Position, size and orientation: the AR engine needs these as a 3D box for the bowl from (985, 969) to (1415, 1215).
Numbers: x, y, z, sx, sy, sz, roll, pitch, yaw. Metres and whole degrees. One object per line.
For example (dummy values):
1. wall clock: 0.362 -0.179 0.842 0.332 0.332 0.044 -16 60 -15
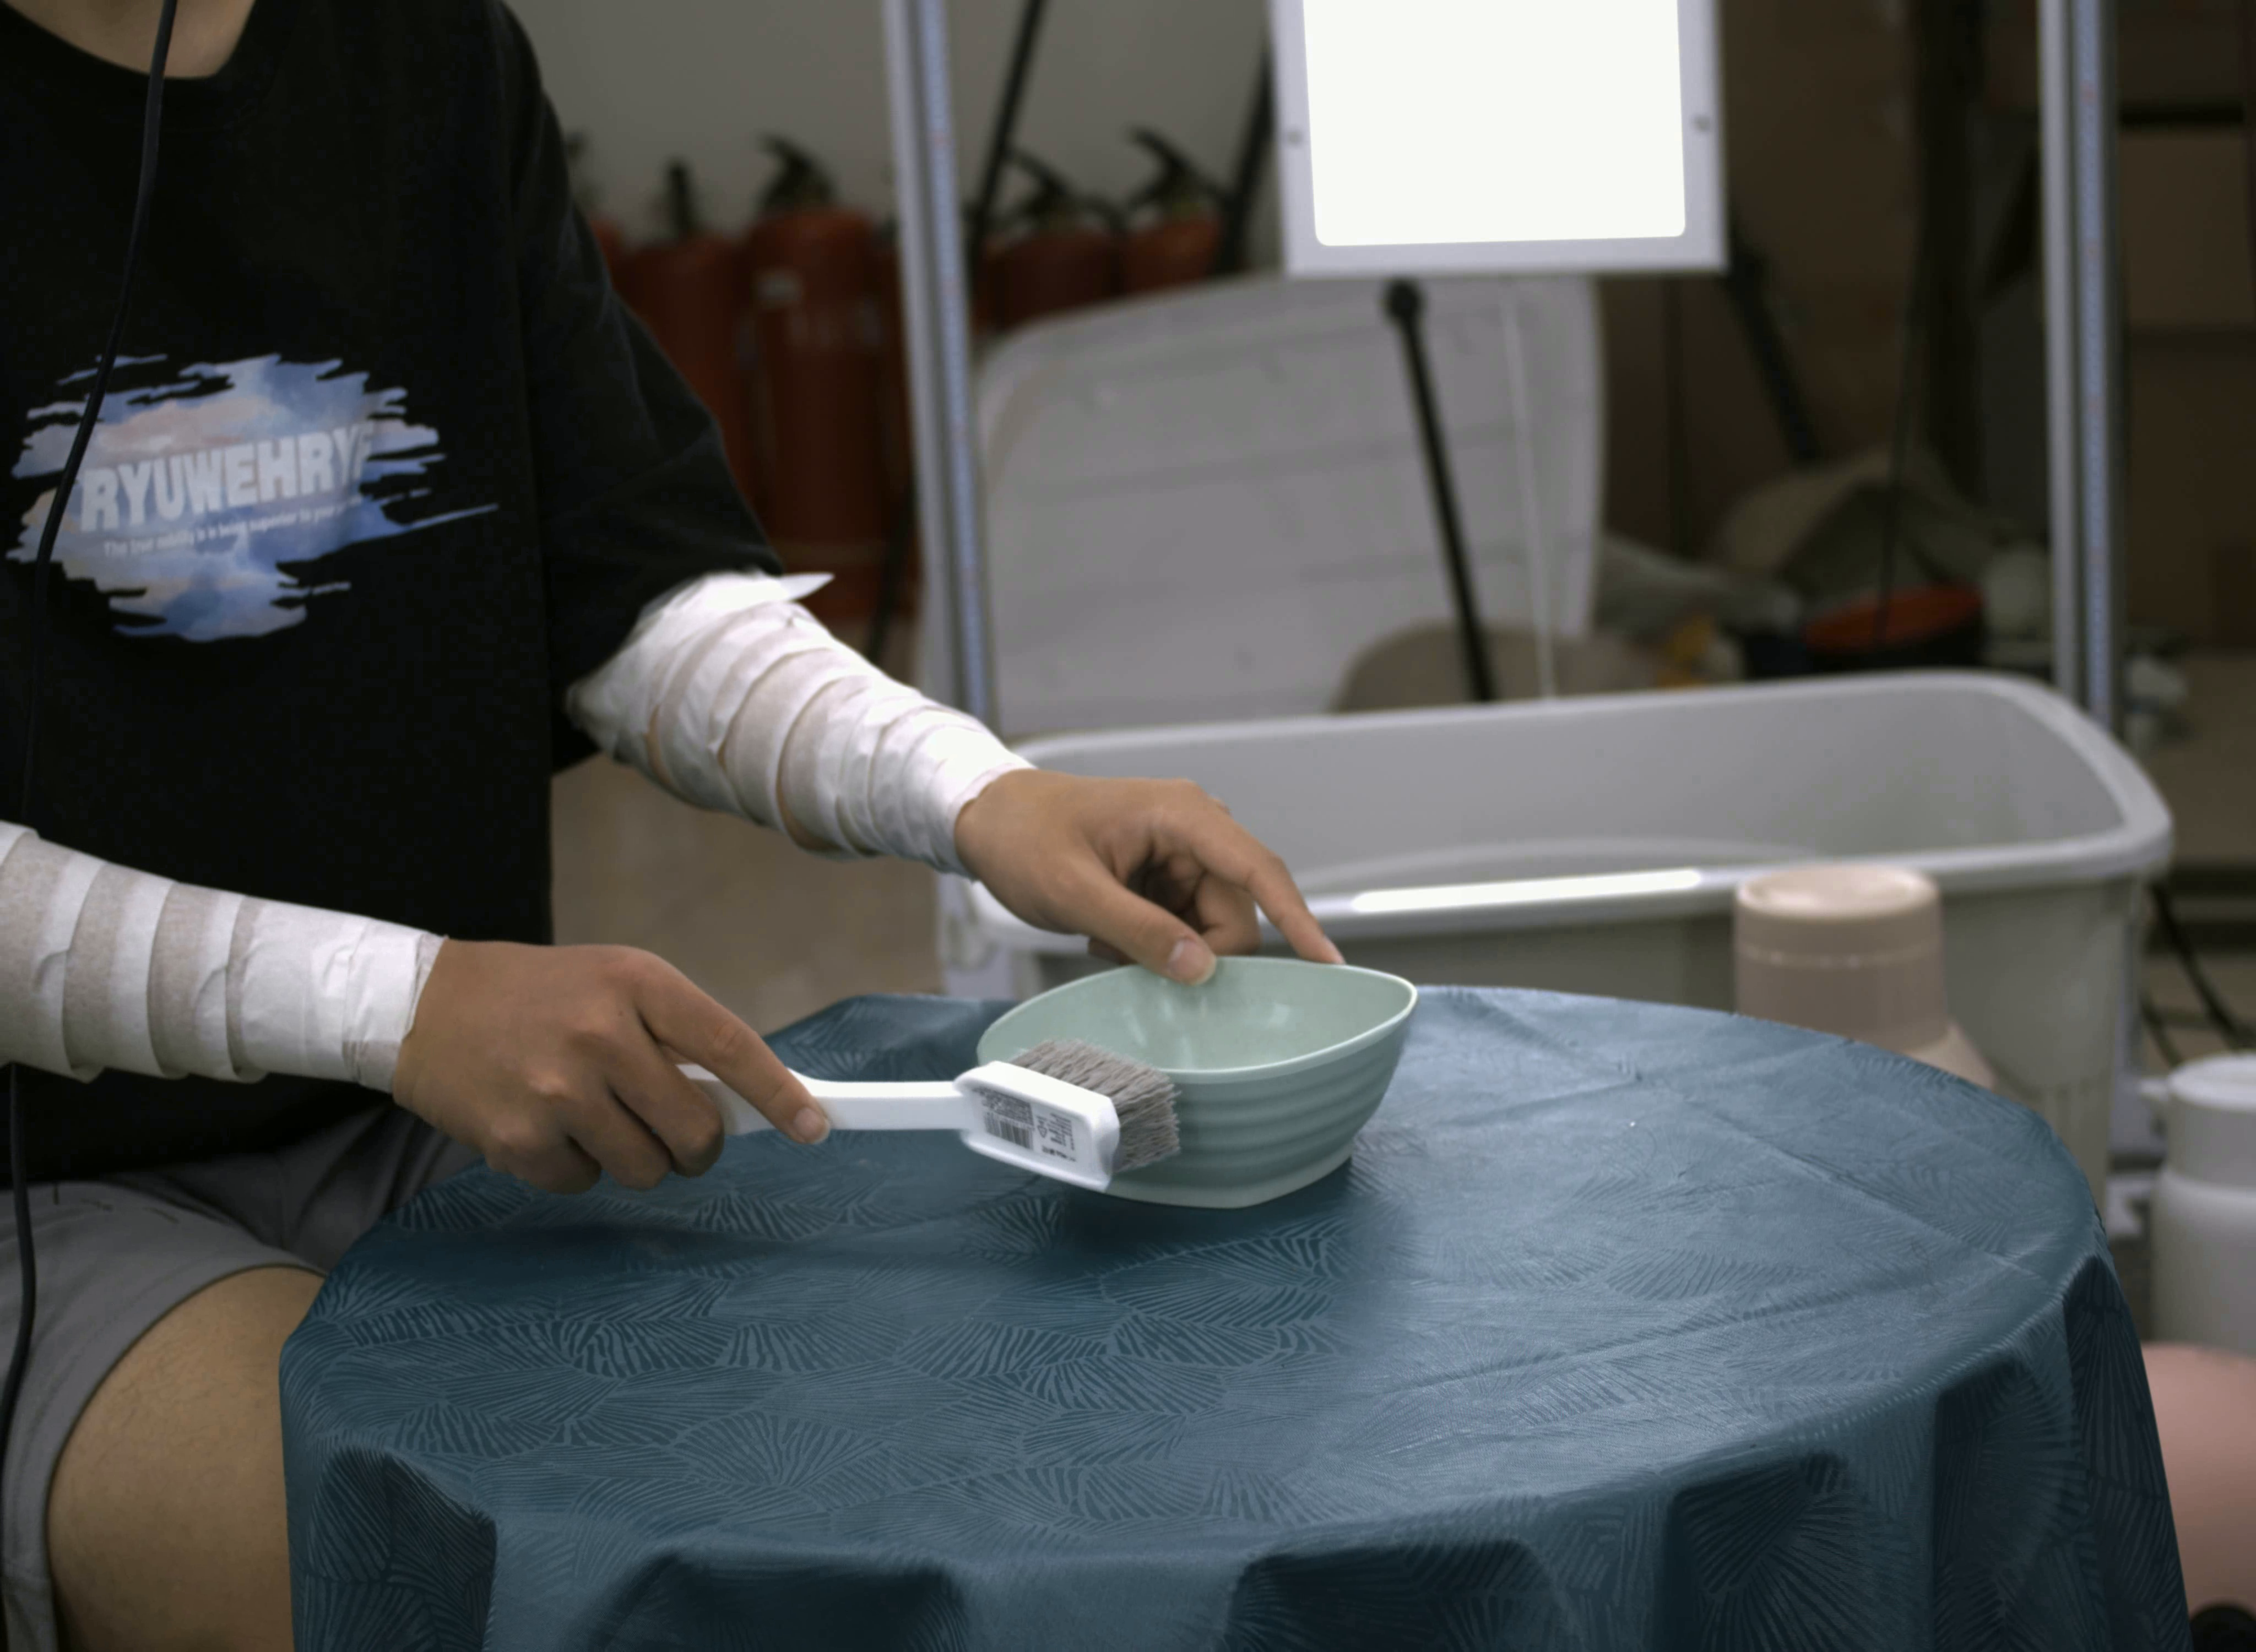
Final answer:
1. bowl: 0.028 0.095 1.910 0.151 0.059 0.151 -6 12 0

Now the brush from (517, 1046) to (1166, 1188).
1. brush: -0.097 0.091 1.879 0.248 0.034 0.049 4 21 31
